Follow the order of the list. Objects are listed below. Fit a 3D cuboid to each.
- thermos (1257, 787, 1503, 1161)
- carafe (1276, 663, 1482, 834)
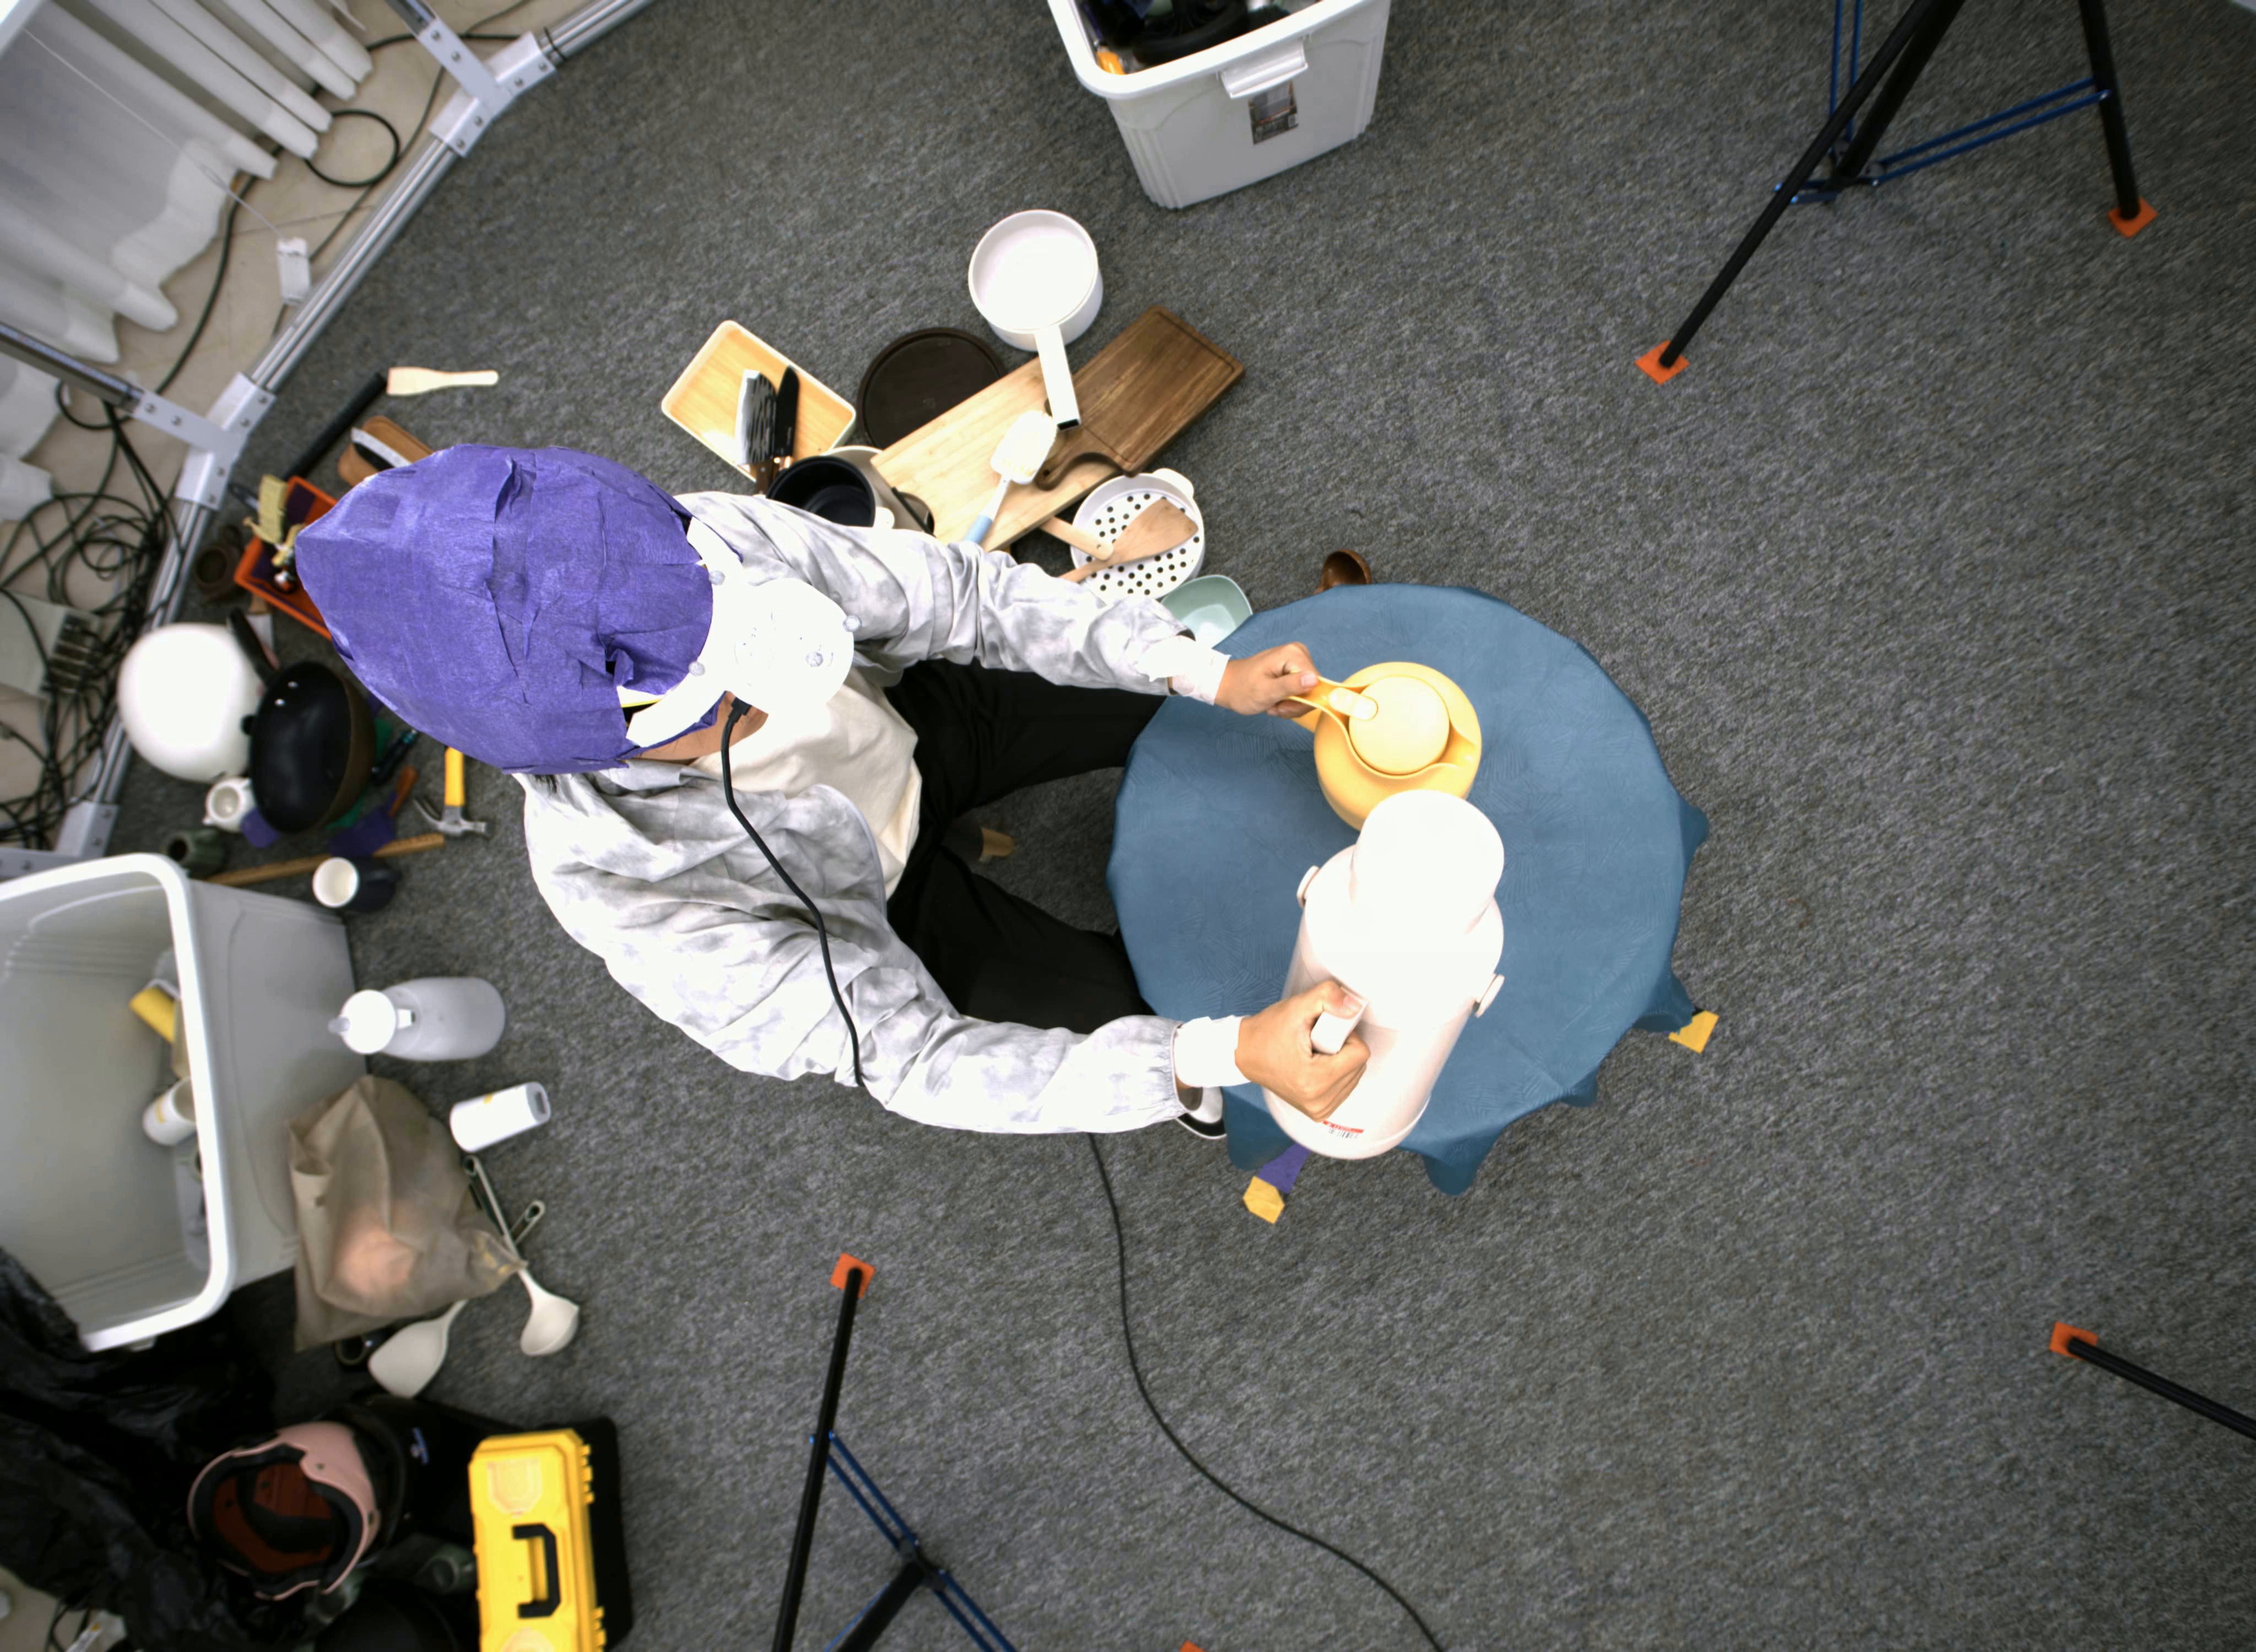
[{"bbox_3d":[0.200,0.137,1.151,0.174,0.416,0.203,32,59,17],"label":"thermos"},{"bbox_3d":[0.243,-0.087,1.339,0.202,0.261,0.163,26,87,10],"label":"carafe"}]
